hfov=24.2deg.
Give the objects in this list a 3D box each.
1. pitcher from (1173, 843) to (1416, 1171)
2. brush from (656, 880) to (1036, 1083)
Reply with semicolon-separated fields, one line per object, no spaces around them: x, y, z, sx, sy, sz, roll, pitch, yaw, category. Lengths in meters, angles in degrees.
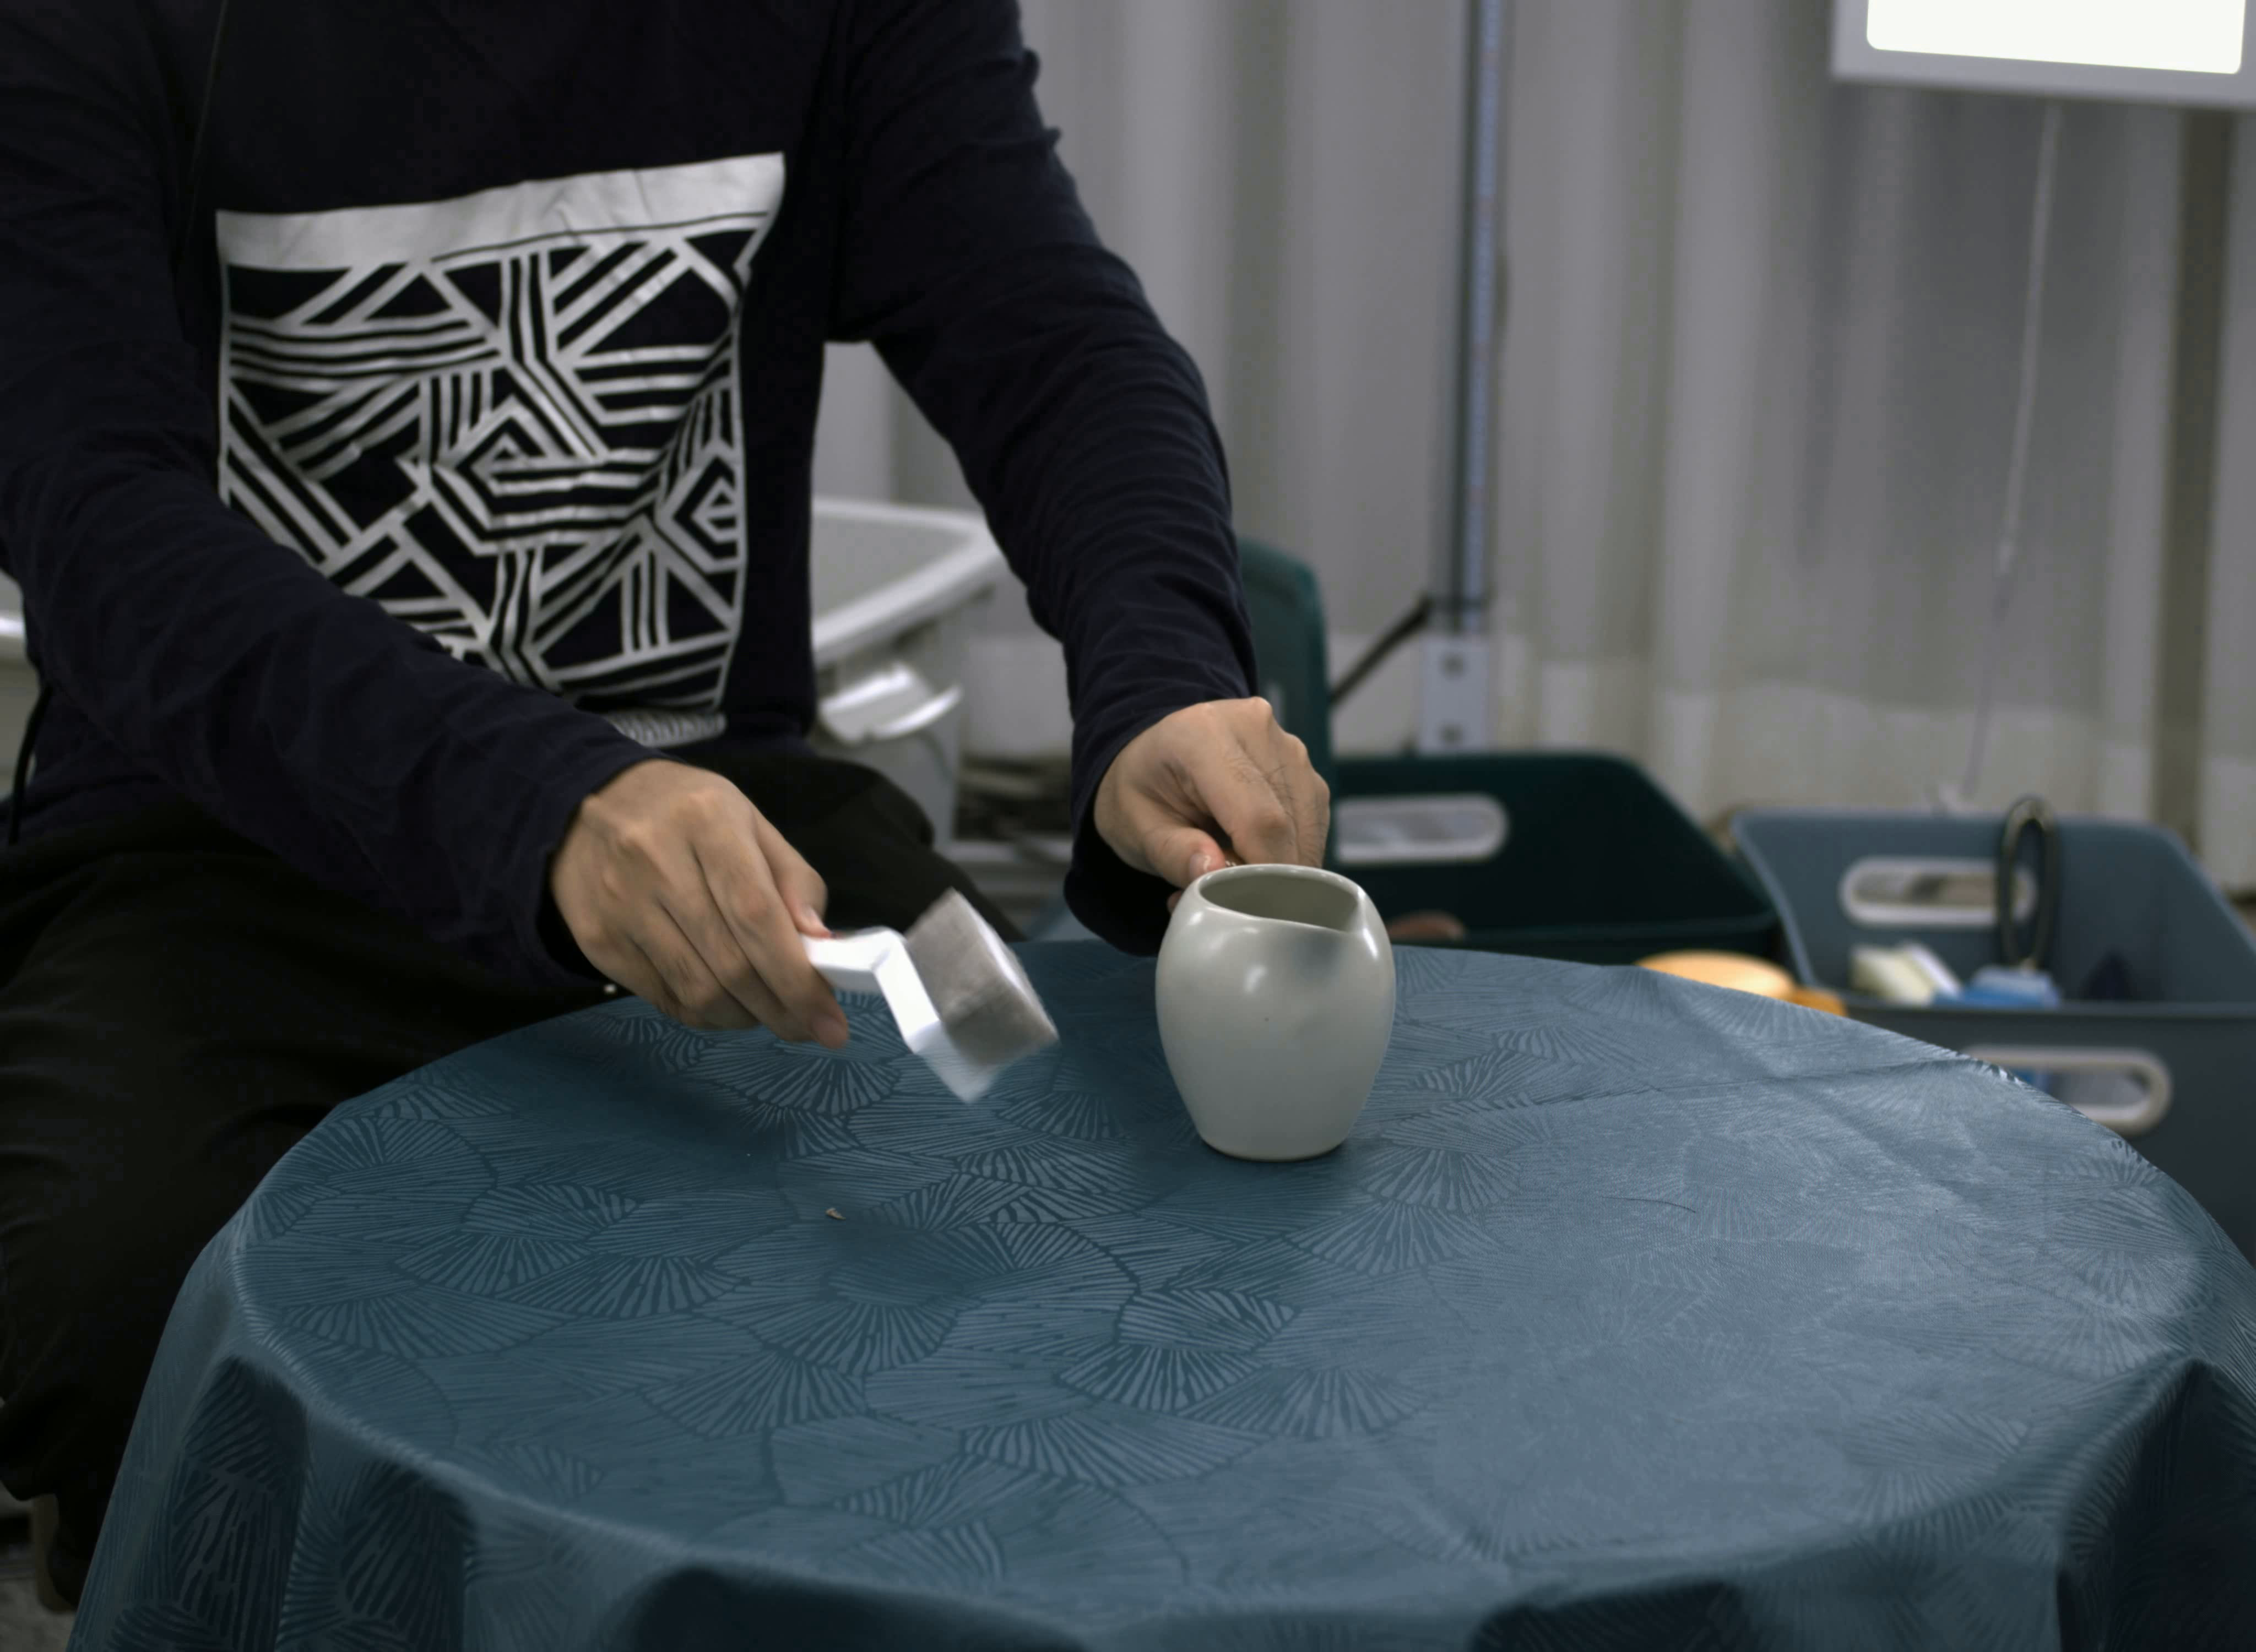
0.049;0.057;1.657;0.076;0.088;0.118;1;22;-16;pitcher
-0.091;0.030;1.653;0.035;0.050;0.241;35;-5;-26;brush
